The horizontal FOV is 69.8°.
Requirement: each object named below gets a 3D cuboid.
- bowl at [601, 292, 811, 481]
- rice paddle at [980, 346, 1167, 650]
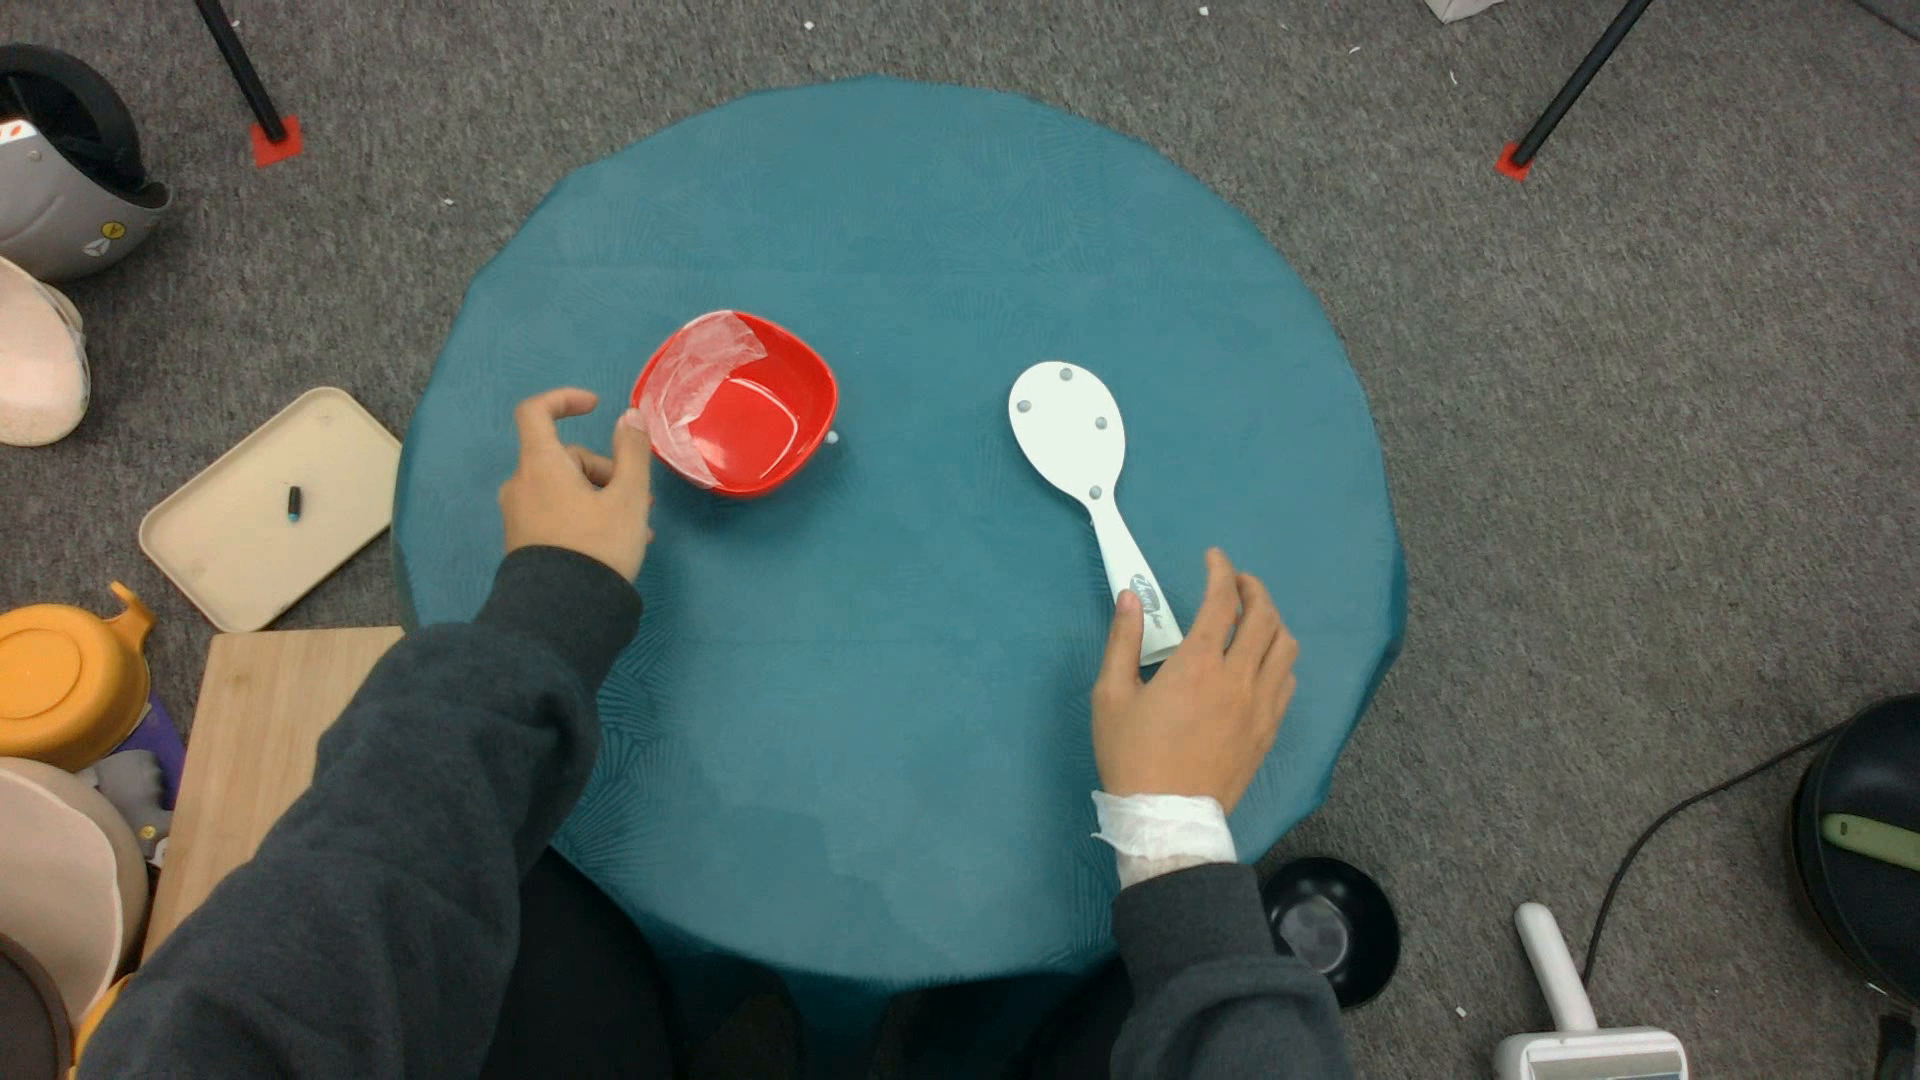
[{"bbox_3d":[-0.148,-0.082,0.809,0.119,0.051,0.119,3,67,-7],"label":"bowl"},{"bbox_3d":[0.069,-0.032,0.830,0.069,0.029,0.205,-17,71,-16],"label":"rice paddle"}]
